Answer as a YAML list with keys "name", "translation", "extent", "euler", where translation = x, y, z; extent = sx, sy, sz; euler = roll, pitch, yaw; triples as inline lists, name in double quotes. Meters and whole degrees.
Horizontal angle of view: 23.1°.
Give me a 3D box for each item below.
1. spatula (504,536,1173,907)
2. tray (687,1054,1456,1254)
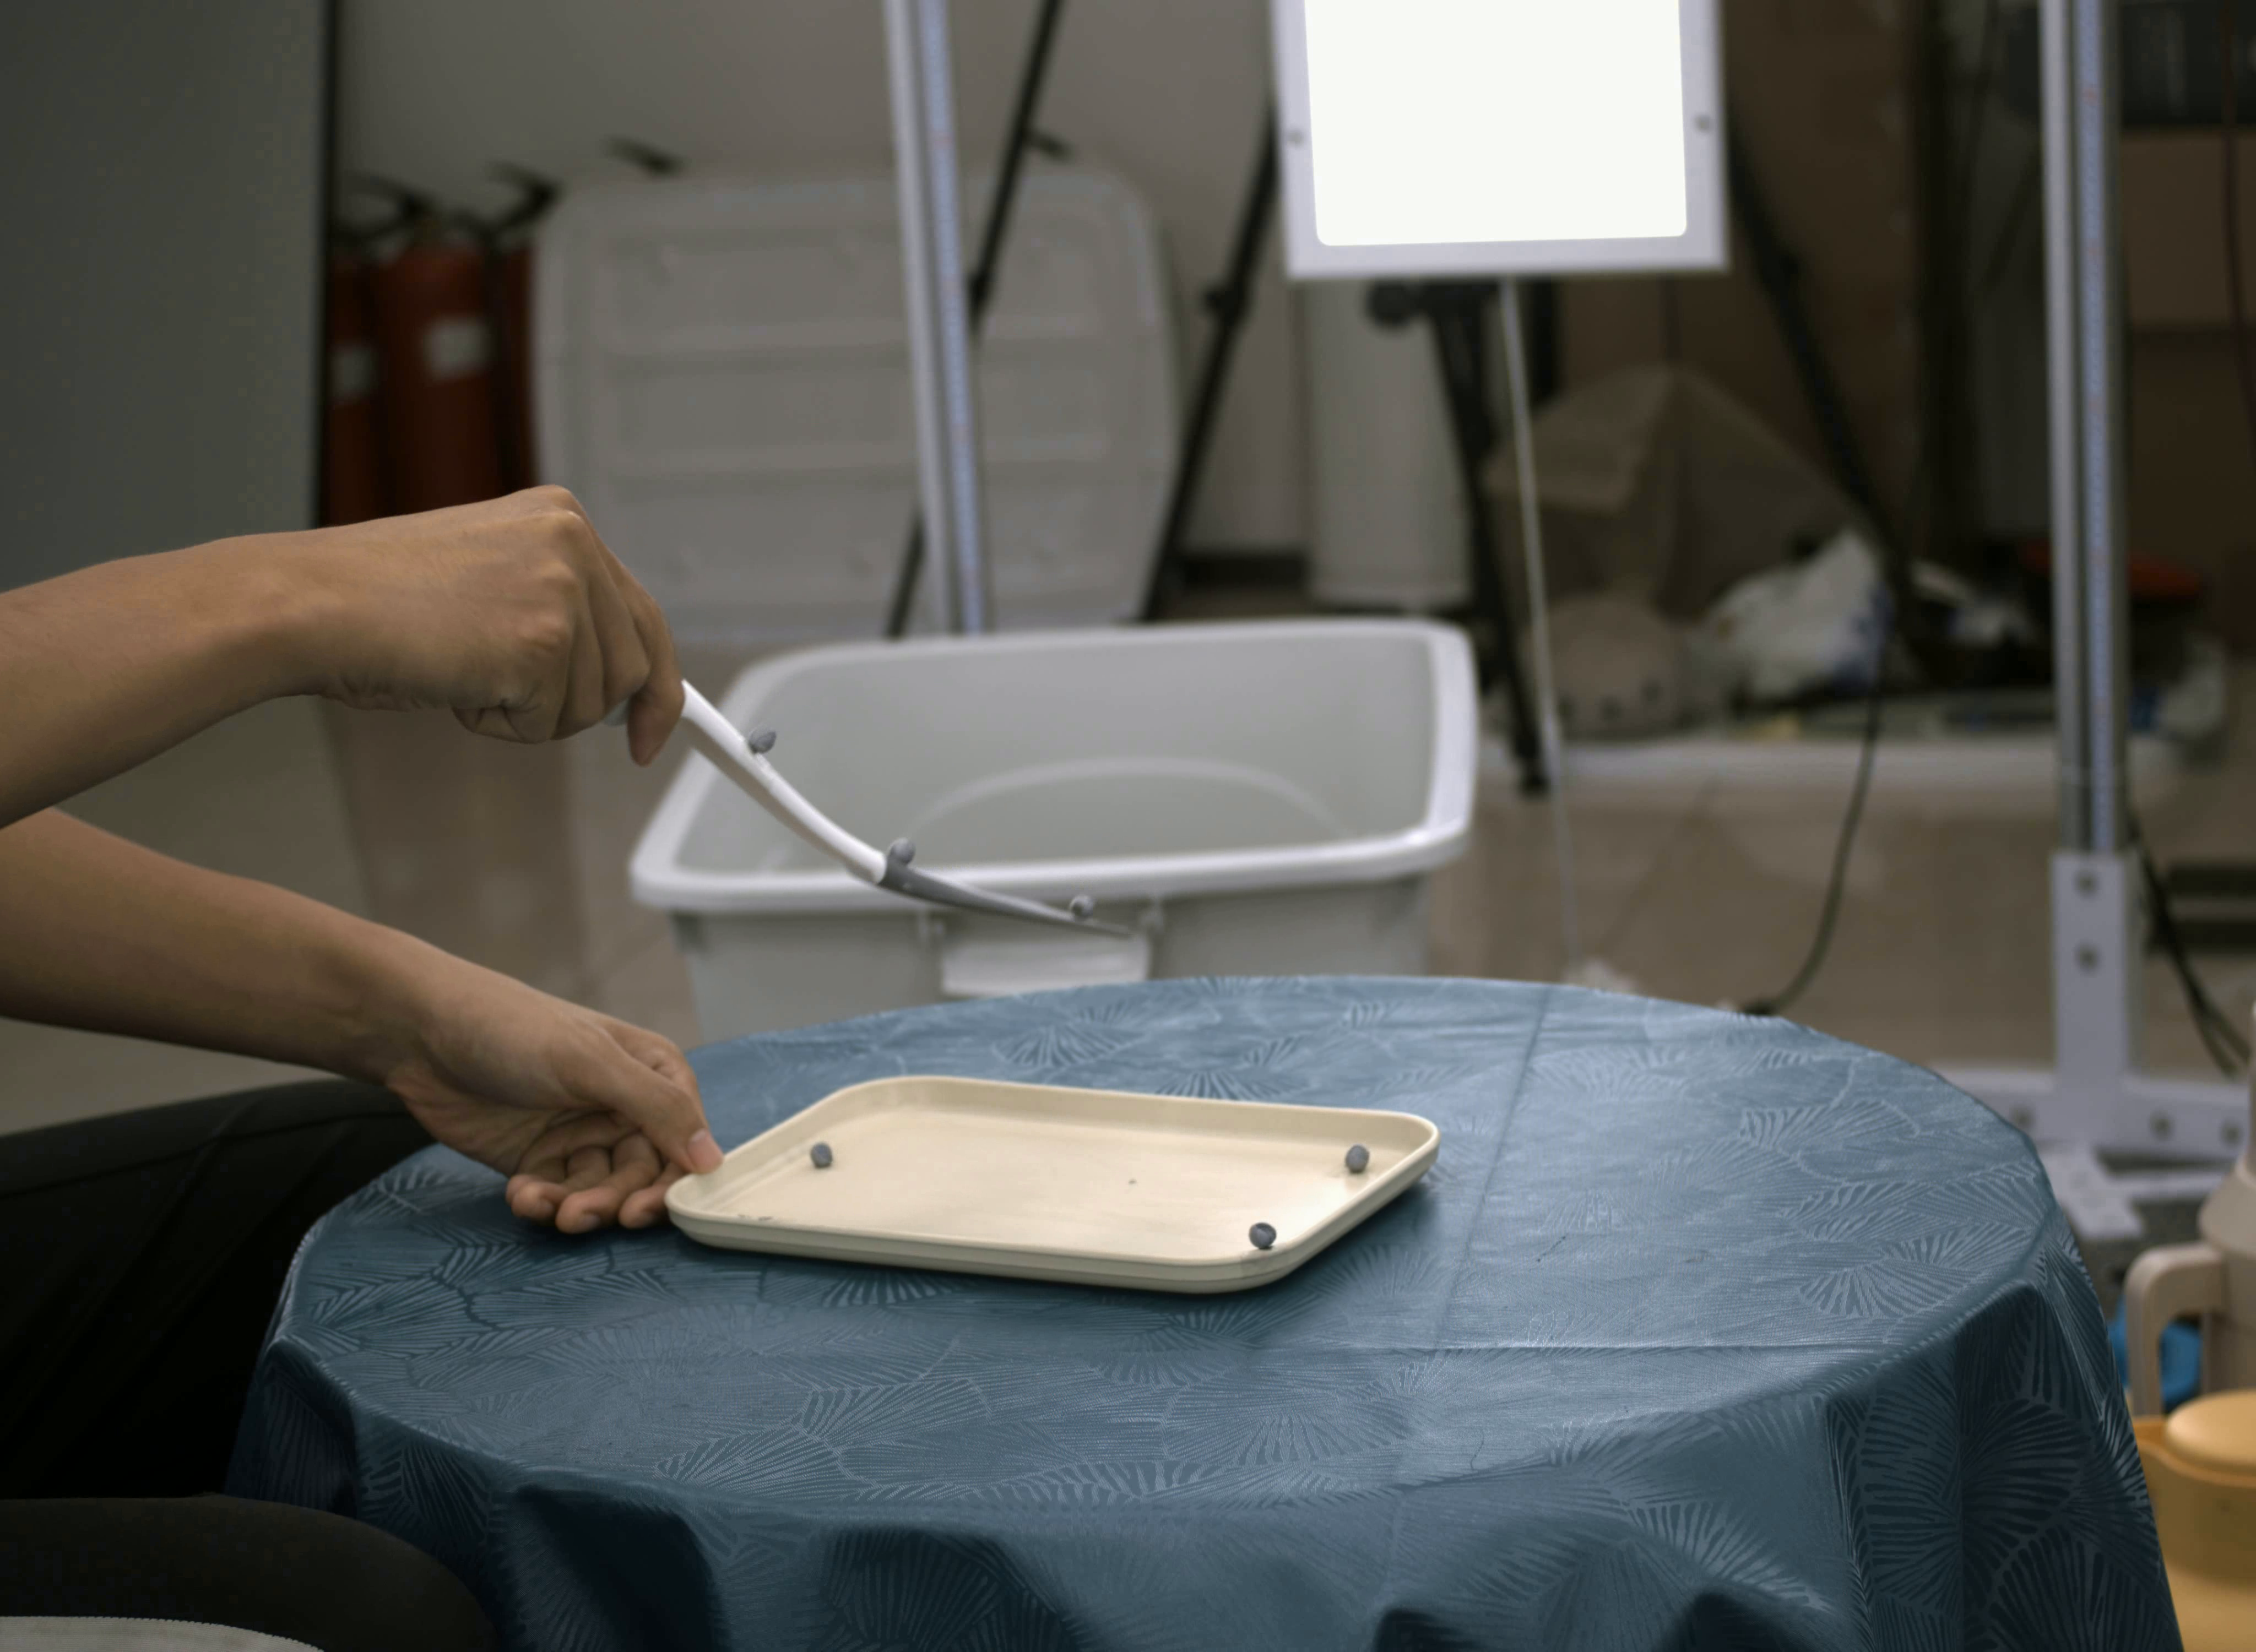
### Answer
- name: "spatula"
  translation: [-0.092, -0.022, 1.788]
  extent: [0.060, 0.032, 0.282]
  euler: [8, -16, 45]
- name: "tray"
  translation: [-0.018, 0.113, 1.898]
  extent: [0.244, 0.017, 0.167]
  euler: [2, 14, 29]
